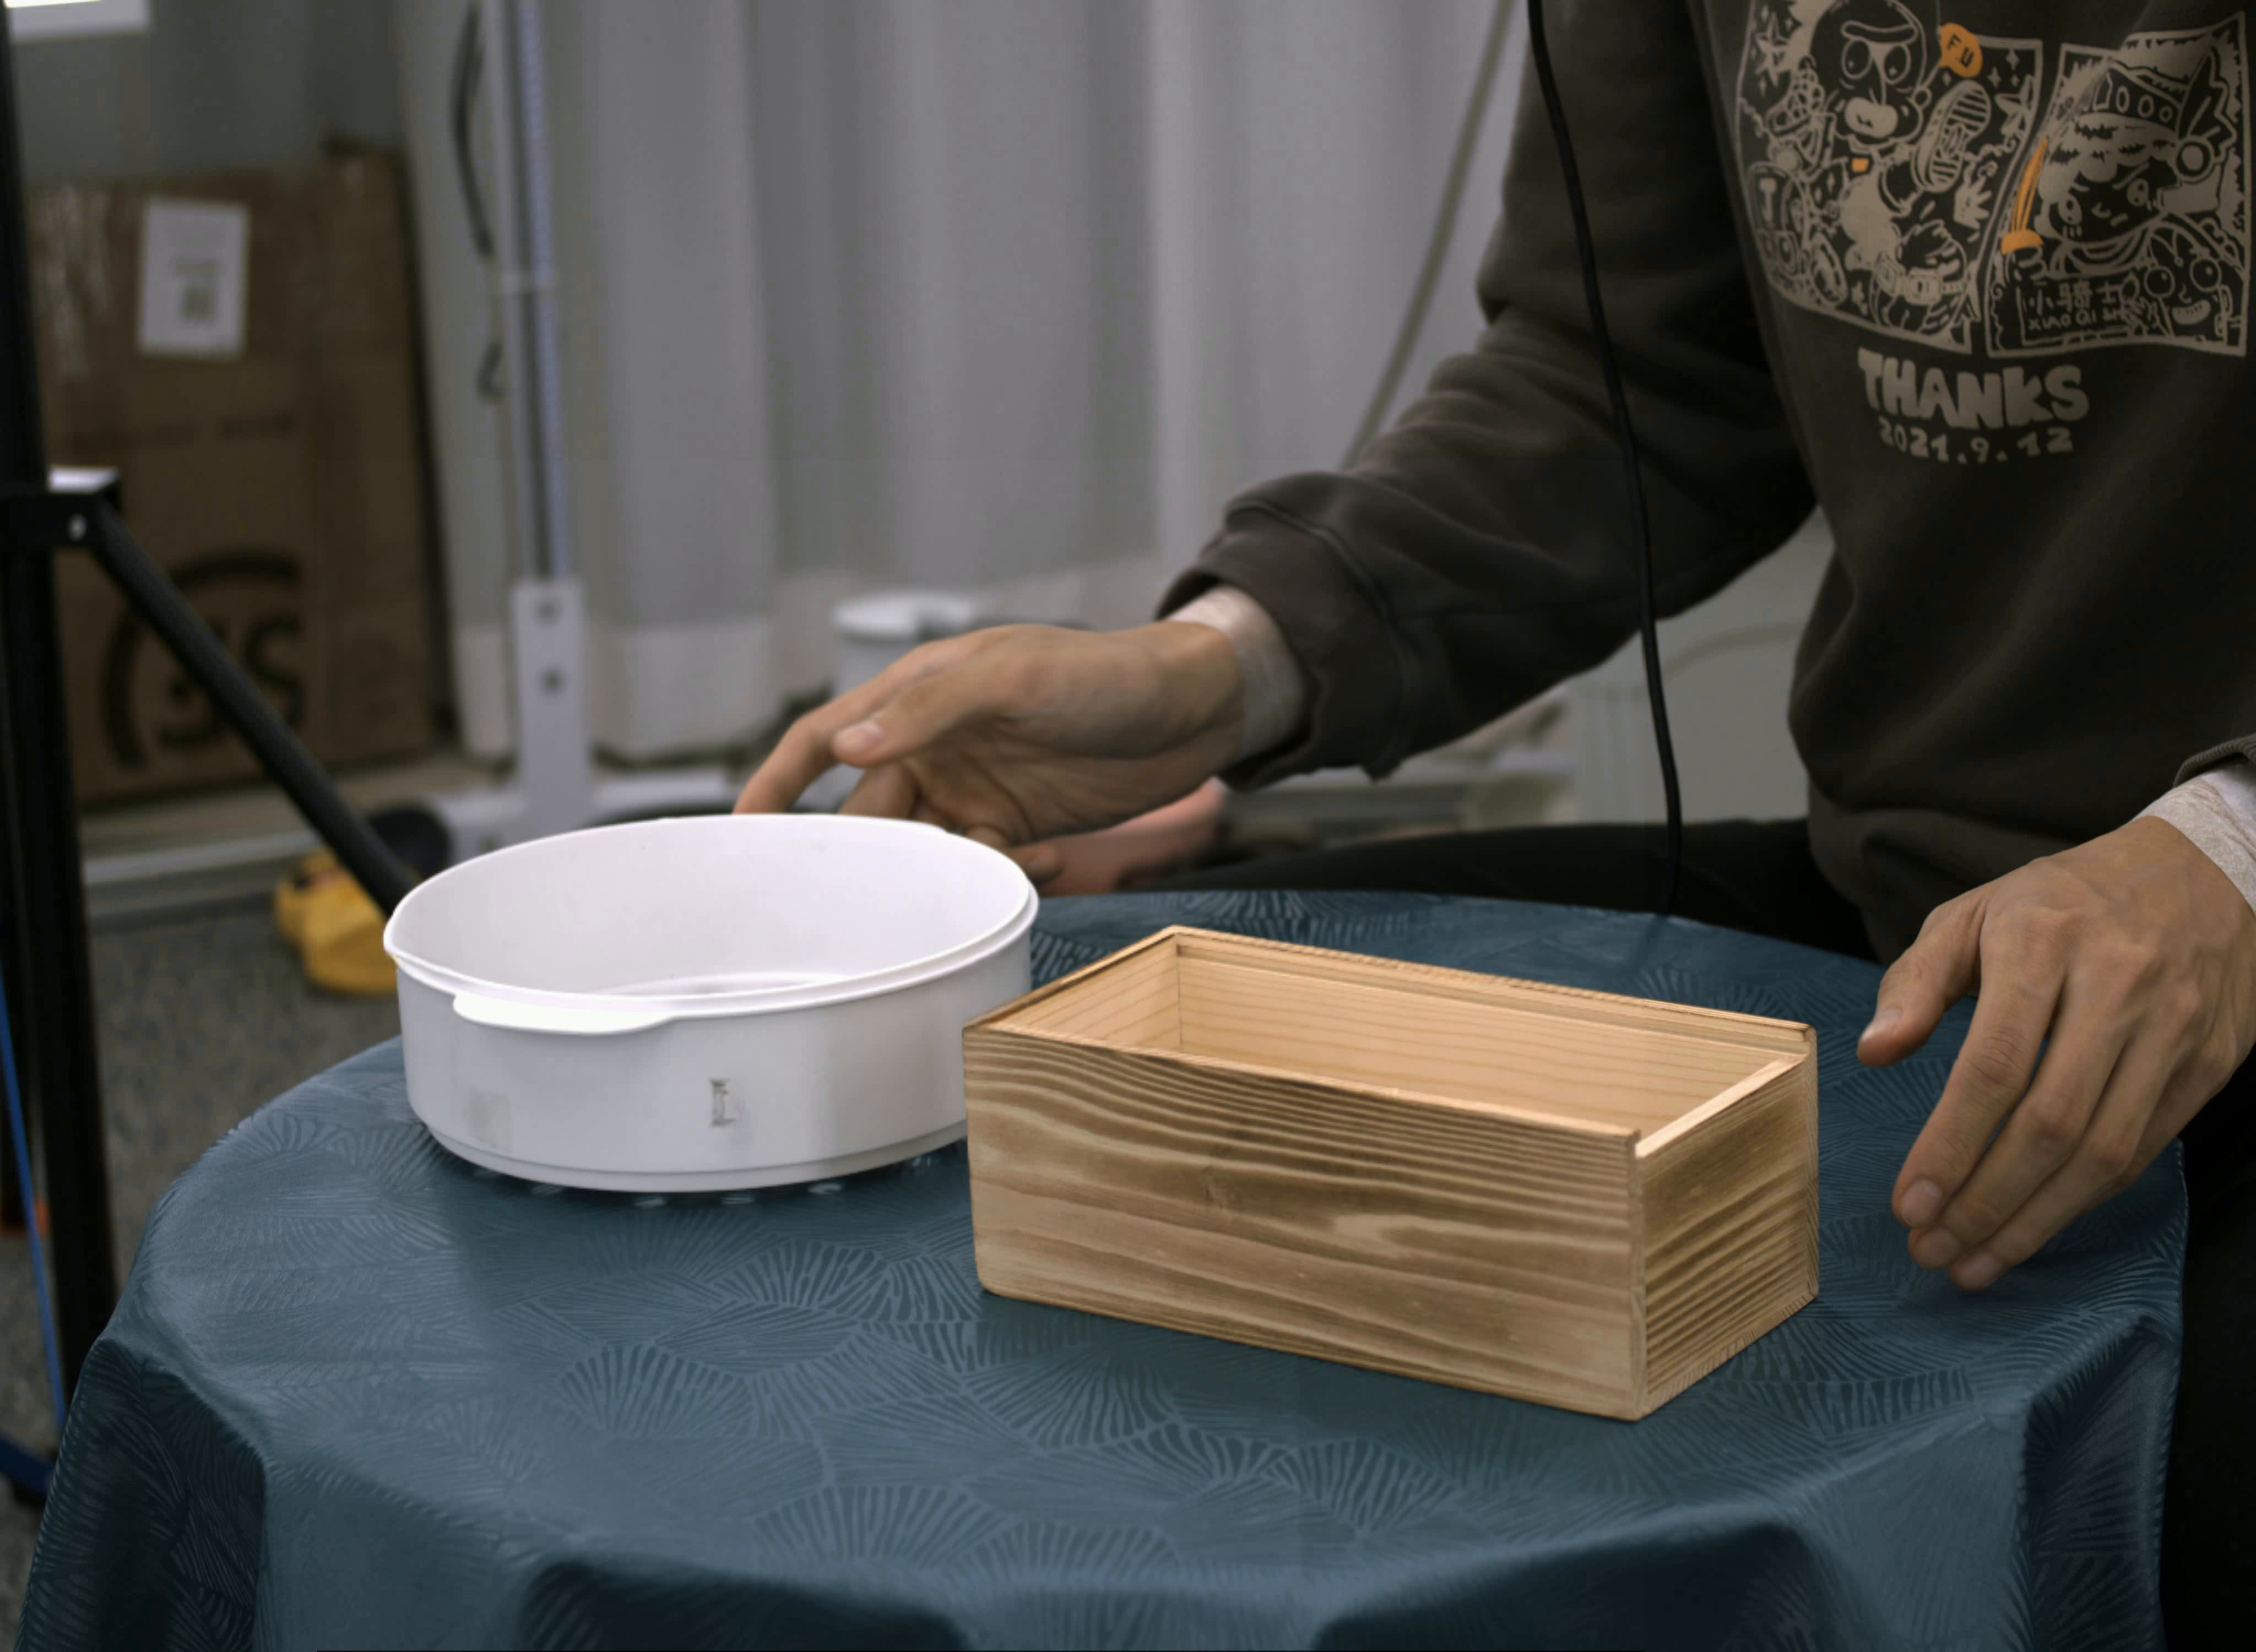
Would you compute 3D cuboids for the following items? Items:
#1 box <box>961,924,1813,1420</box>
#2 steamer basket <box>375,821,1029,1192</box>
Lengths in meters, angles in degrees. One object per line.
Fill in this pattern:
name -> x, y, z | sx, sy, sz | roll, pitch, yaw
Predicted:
box -> 0.070, 0.092, 1.460 | 0.215, 0.080, 0.105 | 8, 18, 34
steamer basket -> -0.130, 0.056, 1.647 | 0.205, 0.069, 0.227 | 5, 16, 24
